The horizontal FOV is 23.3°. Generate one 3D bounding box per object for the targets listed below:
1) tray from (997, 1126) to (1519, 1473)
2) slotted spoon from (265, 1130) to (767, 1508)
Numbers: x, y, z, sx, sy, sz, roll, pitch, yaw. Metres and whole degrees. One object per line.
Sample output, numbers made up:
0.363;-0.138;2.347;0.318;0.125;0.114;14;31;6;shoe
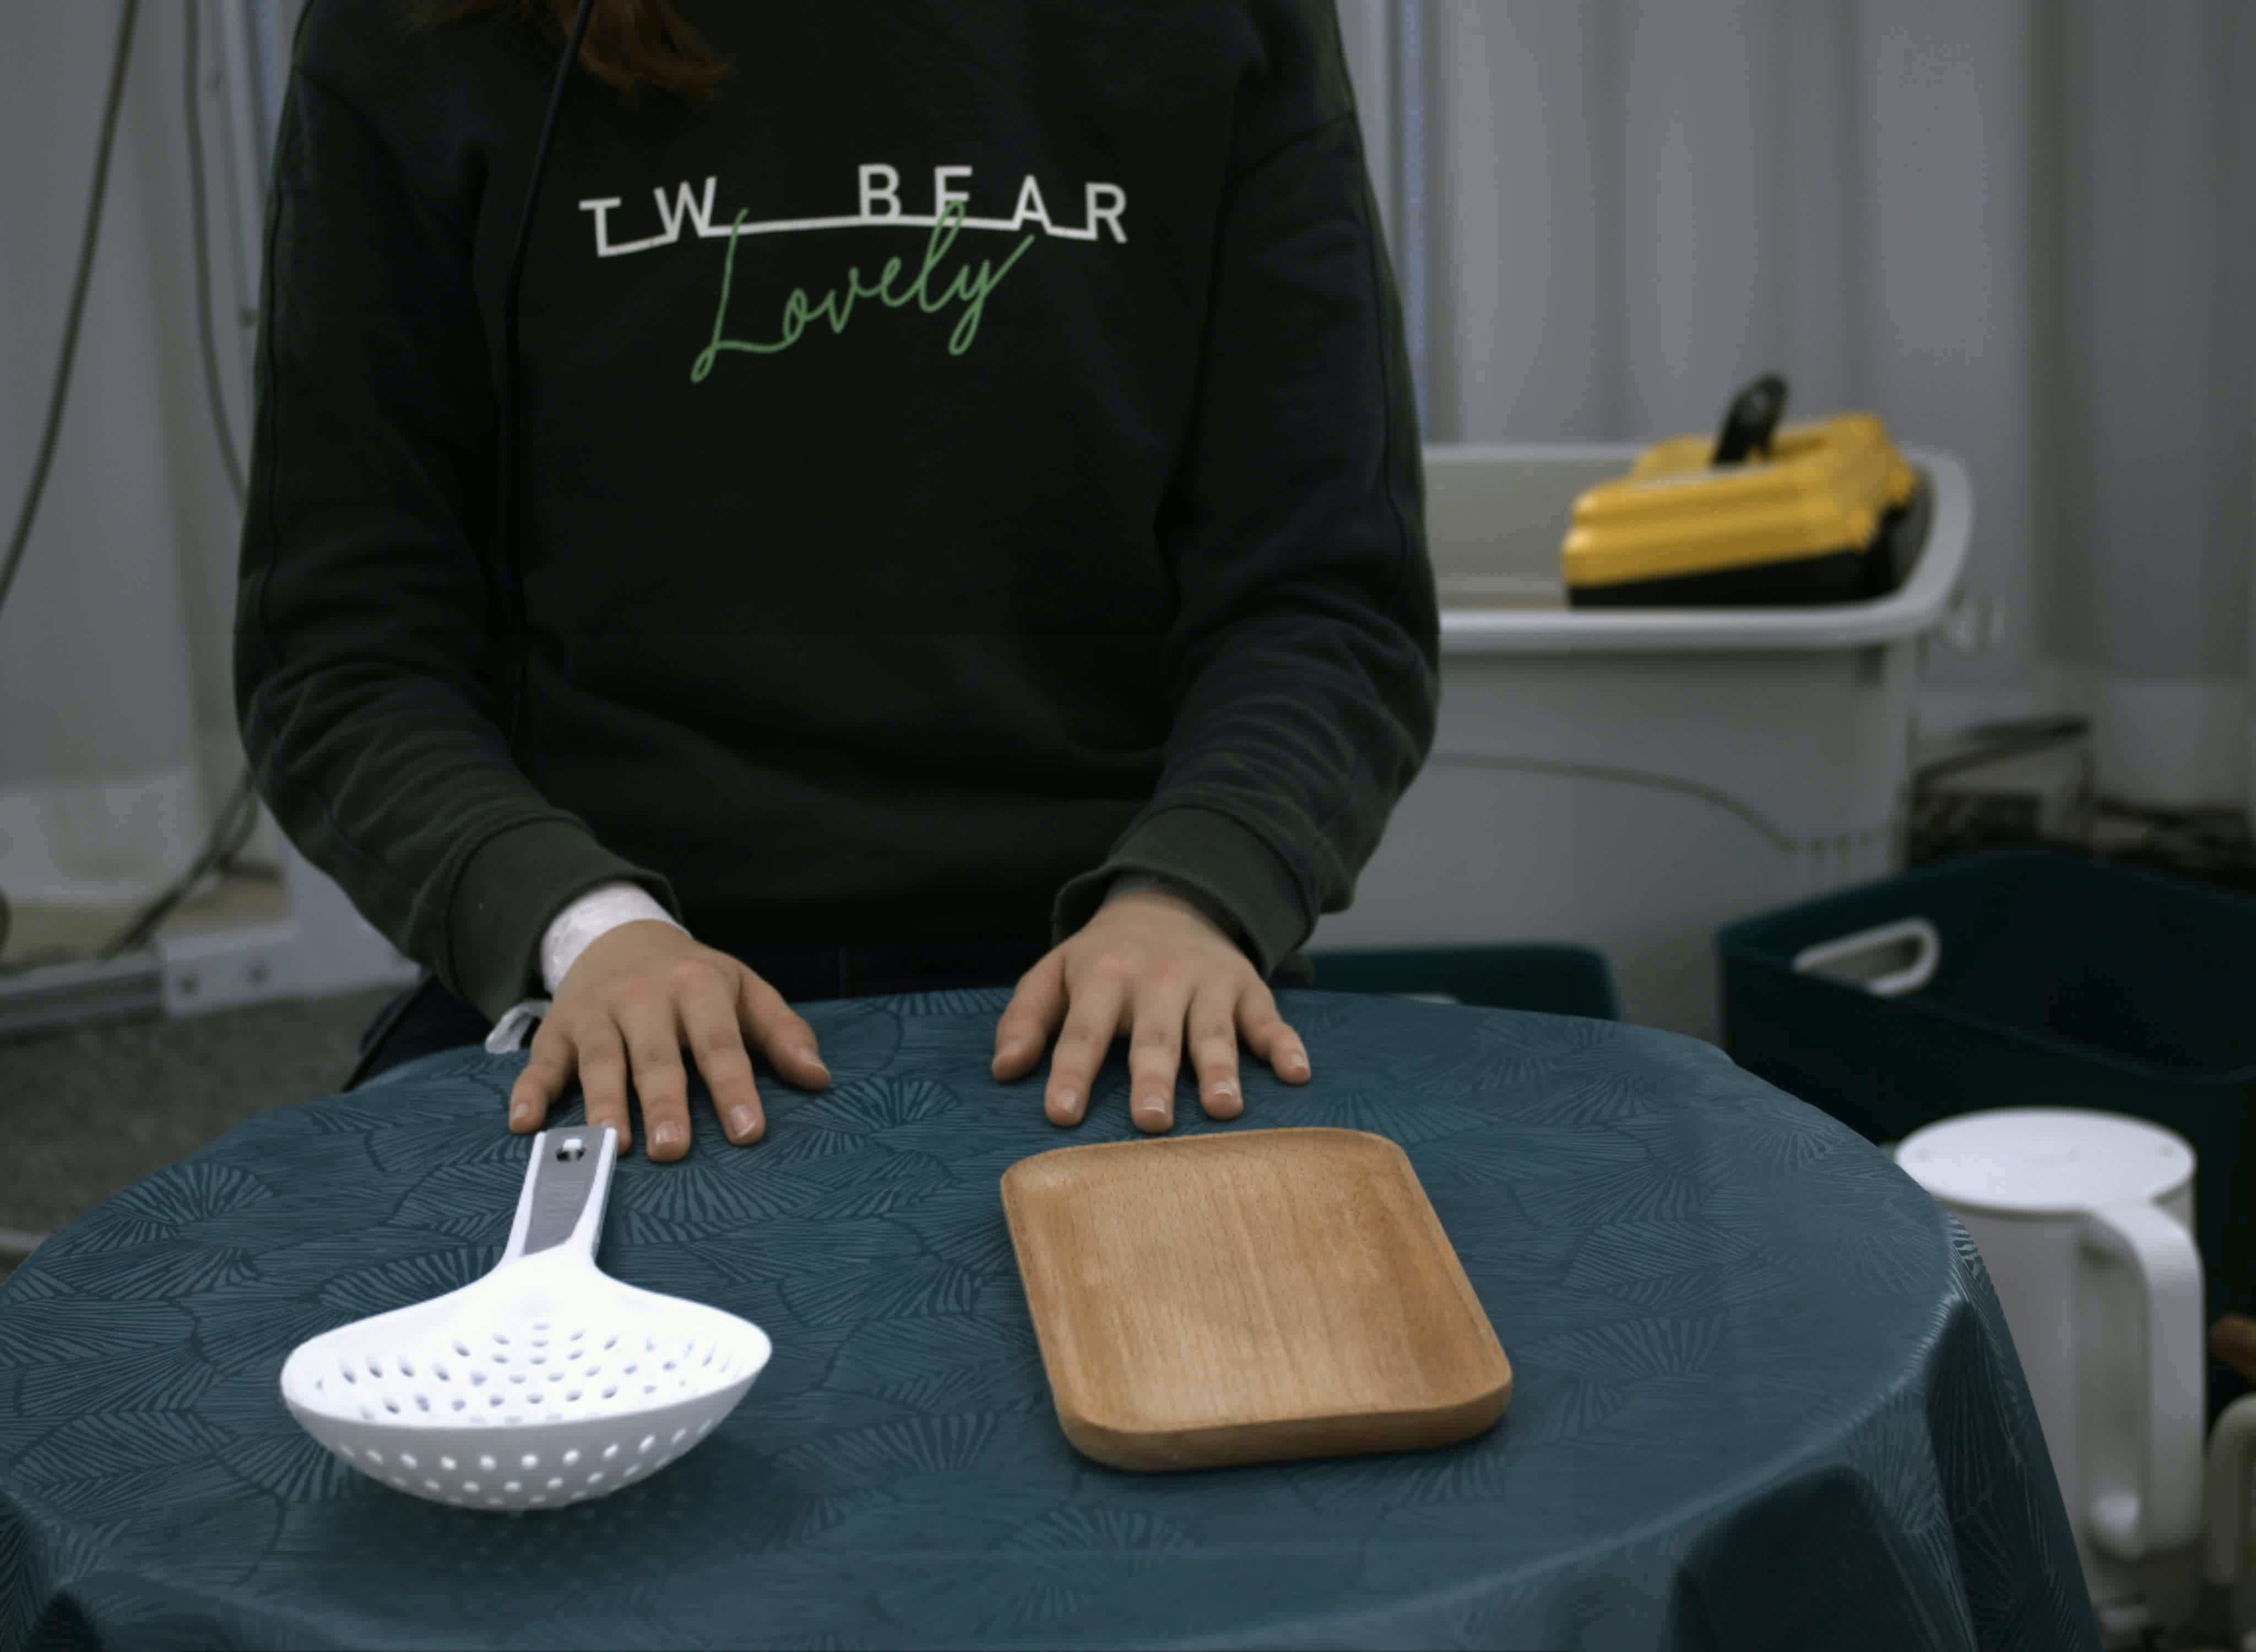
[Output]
0.034;0.135;1.598;0.130;0.023;0.252;-2;14;-5;tray
-0.169;0.134;1.588;0.135;0.045;0.352;-1;14;-2;slotted spoon
